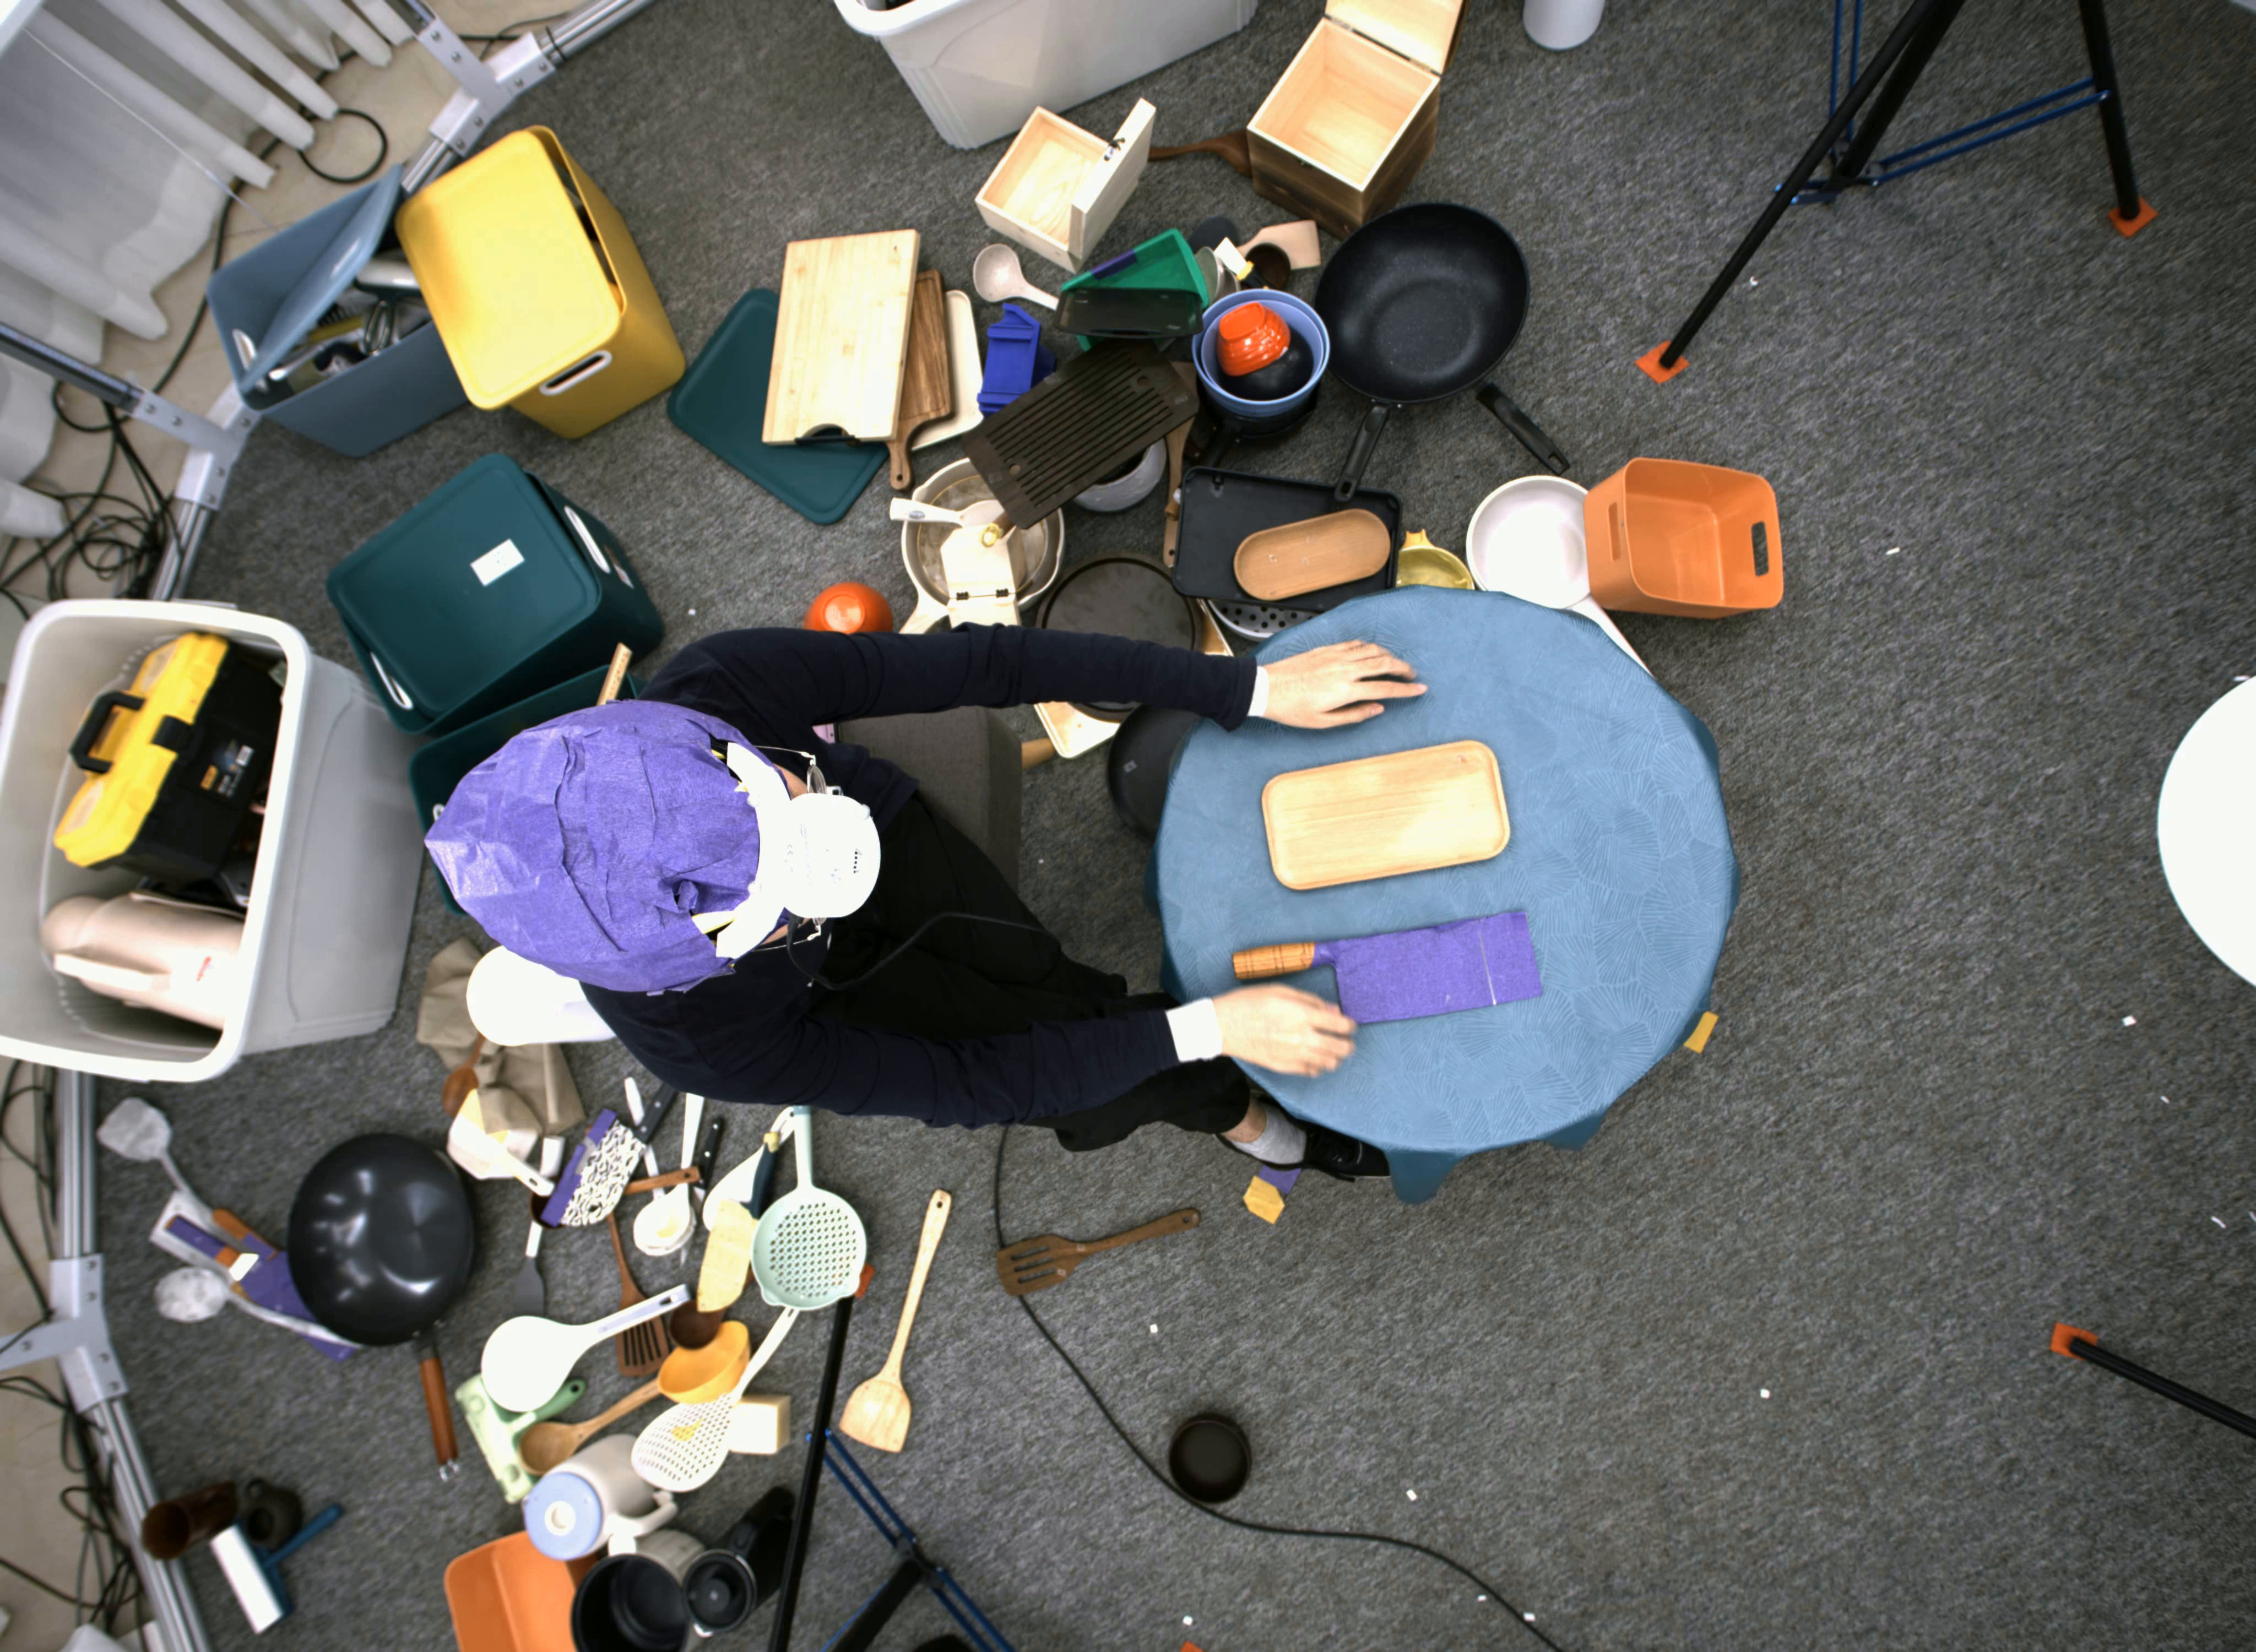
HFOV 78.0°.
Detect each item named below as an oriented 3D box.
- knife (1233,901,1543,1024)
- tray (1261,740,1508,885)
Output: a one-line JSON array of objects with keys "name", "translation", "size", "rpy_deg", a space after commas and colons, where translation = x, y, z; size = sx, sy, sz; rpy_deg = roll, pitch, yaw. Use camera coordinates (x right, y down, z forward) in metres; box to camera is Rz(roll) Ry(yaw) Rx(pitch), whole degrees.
[{"name": "knife", "translation": [0.270, 0.153, 1.442], "size": [0.317, 0.032, 0.103], "rpy_deg": [-11, 85, 10]}, {"name": "tray", "translation": [0.270, -0.015, 1.457], "size": [0.252, 0.023, 0.129], "rpy_deg": [-7, 83, 11]}]
